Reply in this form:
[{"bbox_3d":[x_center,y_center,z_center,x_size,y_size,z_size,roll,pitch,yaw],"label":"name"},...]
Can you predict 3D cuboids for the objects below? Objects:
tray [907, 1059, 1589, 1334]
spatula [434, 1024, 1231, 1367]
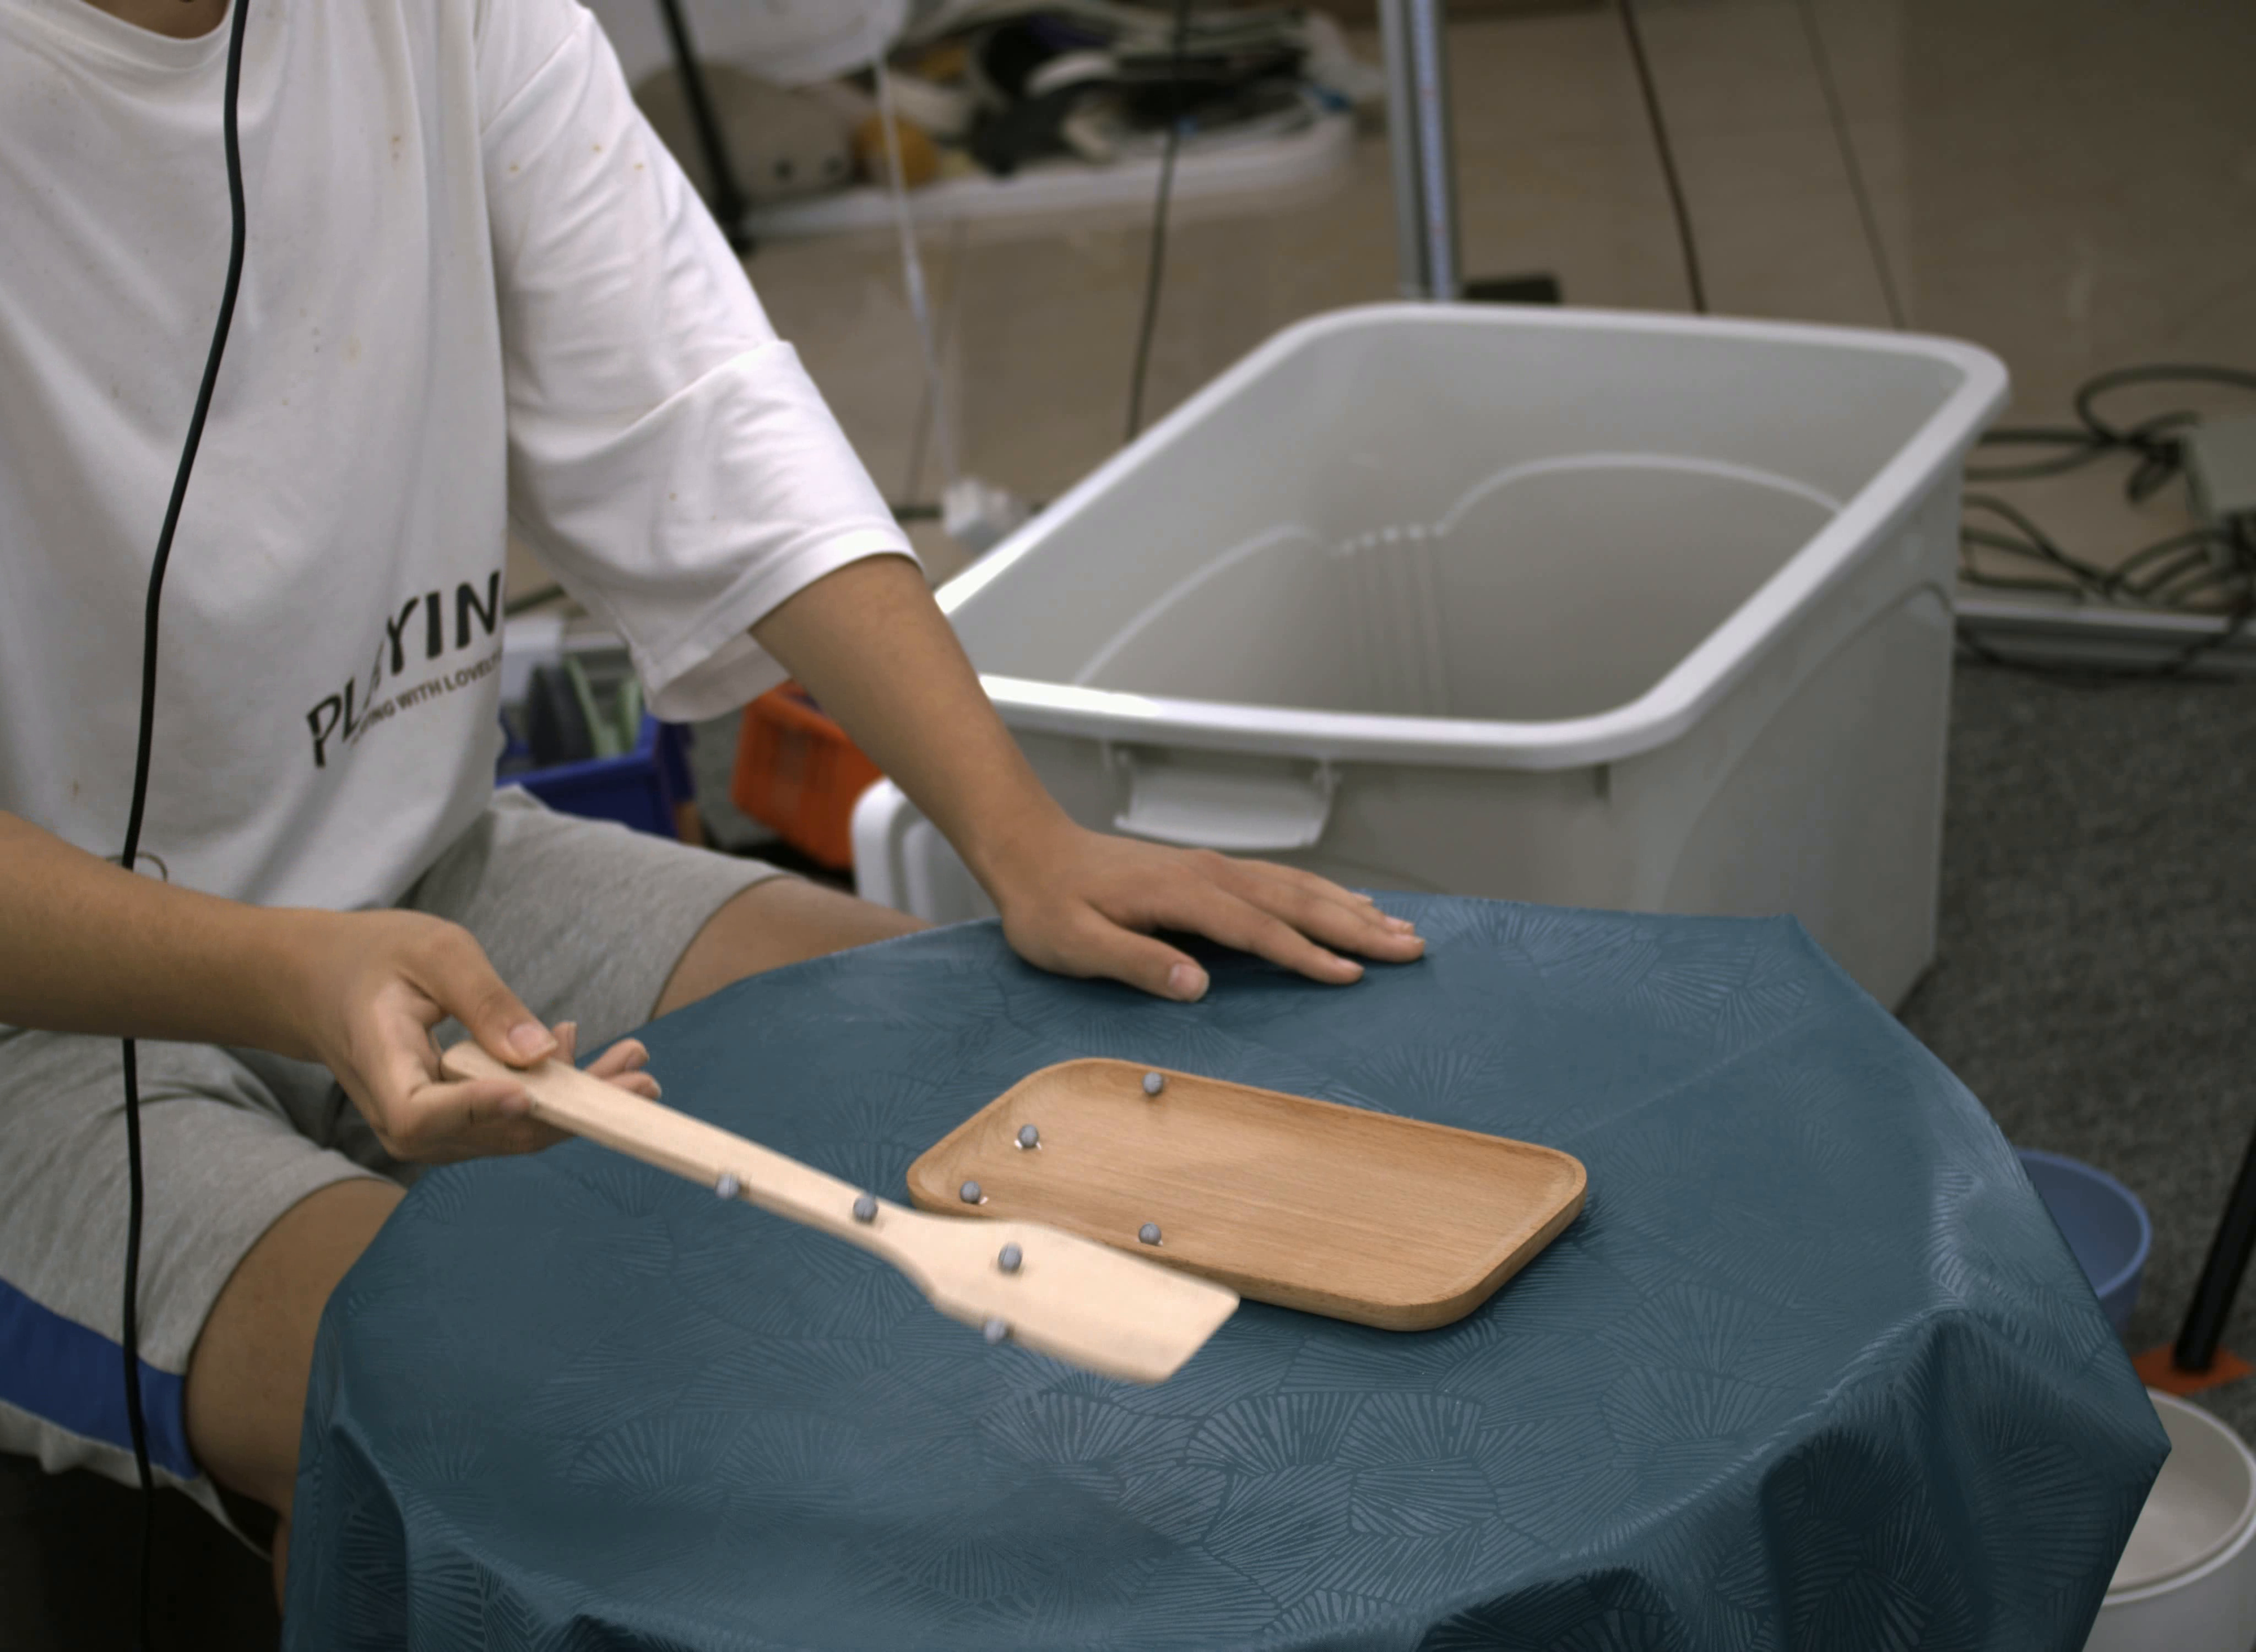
[{"bbox_3d":[0.044,0.137,2.121,0.249,0.023,0.129,12,33,34],"label":"tray"},{"bbox_3d":[-0.108,0.122,1.936,0.291,0.011,0.071,20,27,16],"label":"spatula"}]
